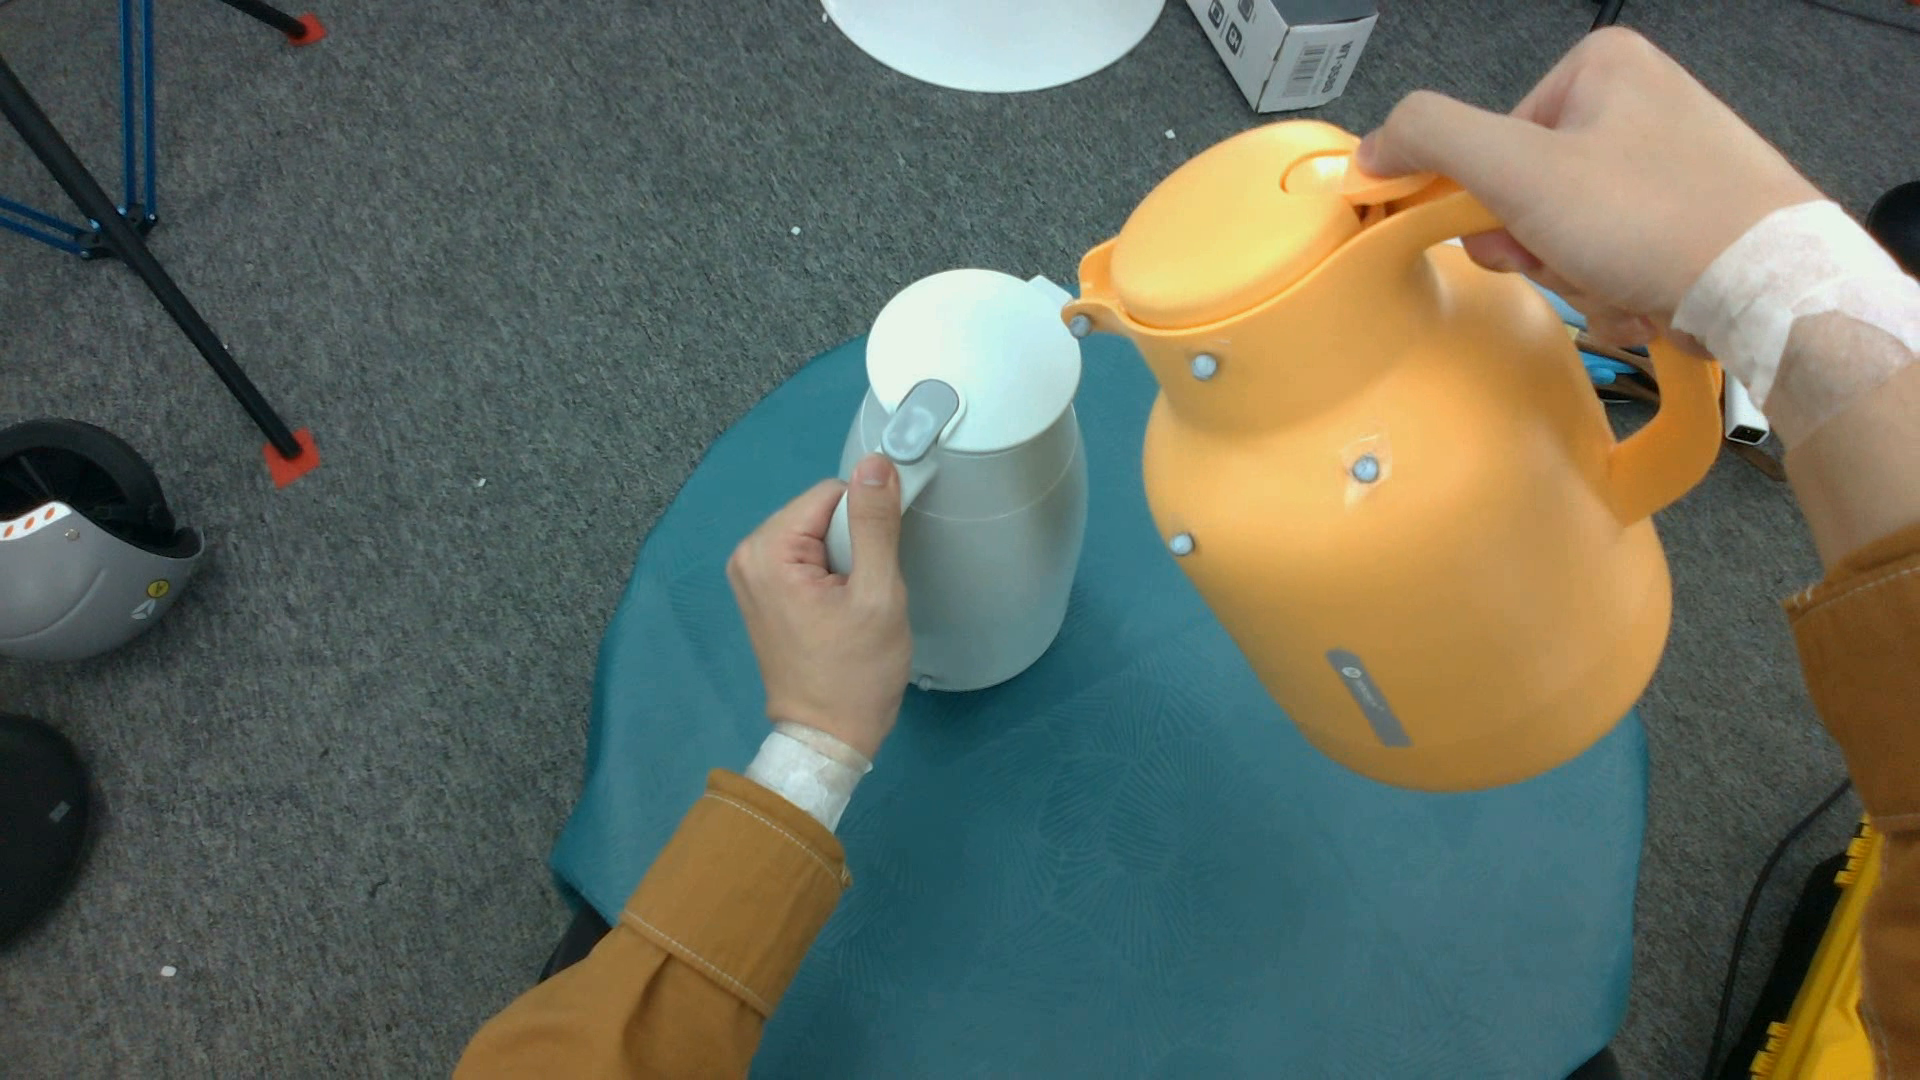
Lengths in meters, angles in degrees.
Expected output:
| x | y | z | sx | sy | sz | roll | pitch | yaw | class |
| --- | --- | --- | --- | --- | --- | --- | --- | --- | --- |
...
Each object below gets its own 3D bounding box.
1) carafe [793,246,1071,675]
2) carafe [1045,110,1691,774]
| x | y | z | sx | sy | sz | roll | pitch | yaw | class |
| --- | --- | --- | --- | --- | --- | --- | --- | --- | --- |
| -0.018 | -0.023 | 0.676 | 0.132 | 0.247 | 0.168 | 34 | 68 | 13 | carafe |
| 0.163 | -0.037 | 0.511 | 0.202 | 0.260 | 0.164 | -8 | 46 | 39 | carafe |
